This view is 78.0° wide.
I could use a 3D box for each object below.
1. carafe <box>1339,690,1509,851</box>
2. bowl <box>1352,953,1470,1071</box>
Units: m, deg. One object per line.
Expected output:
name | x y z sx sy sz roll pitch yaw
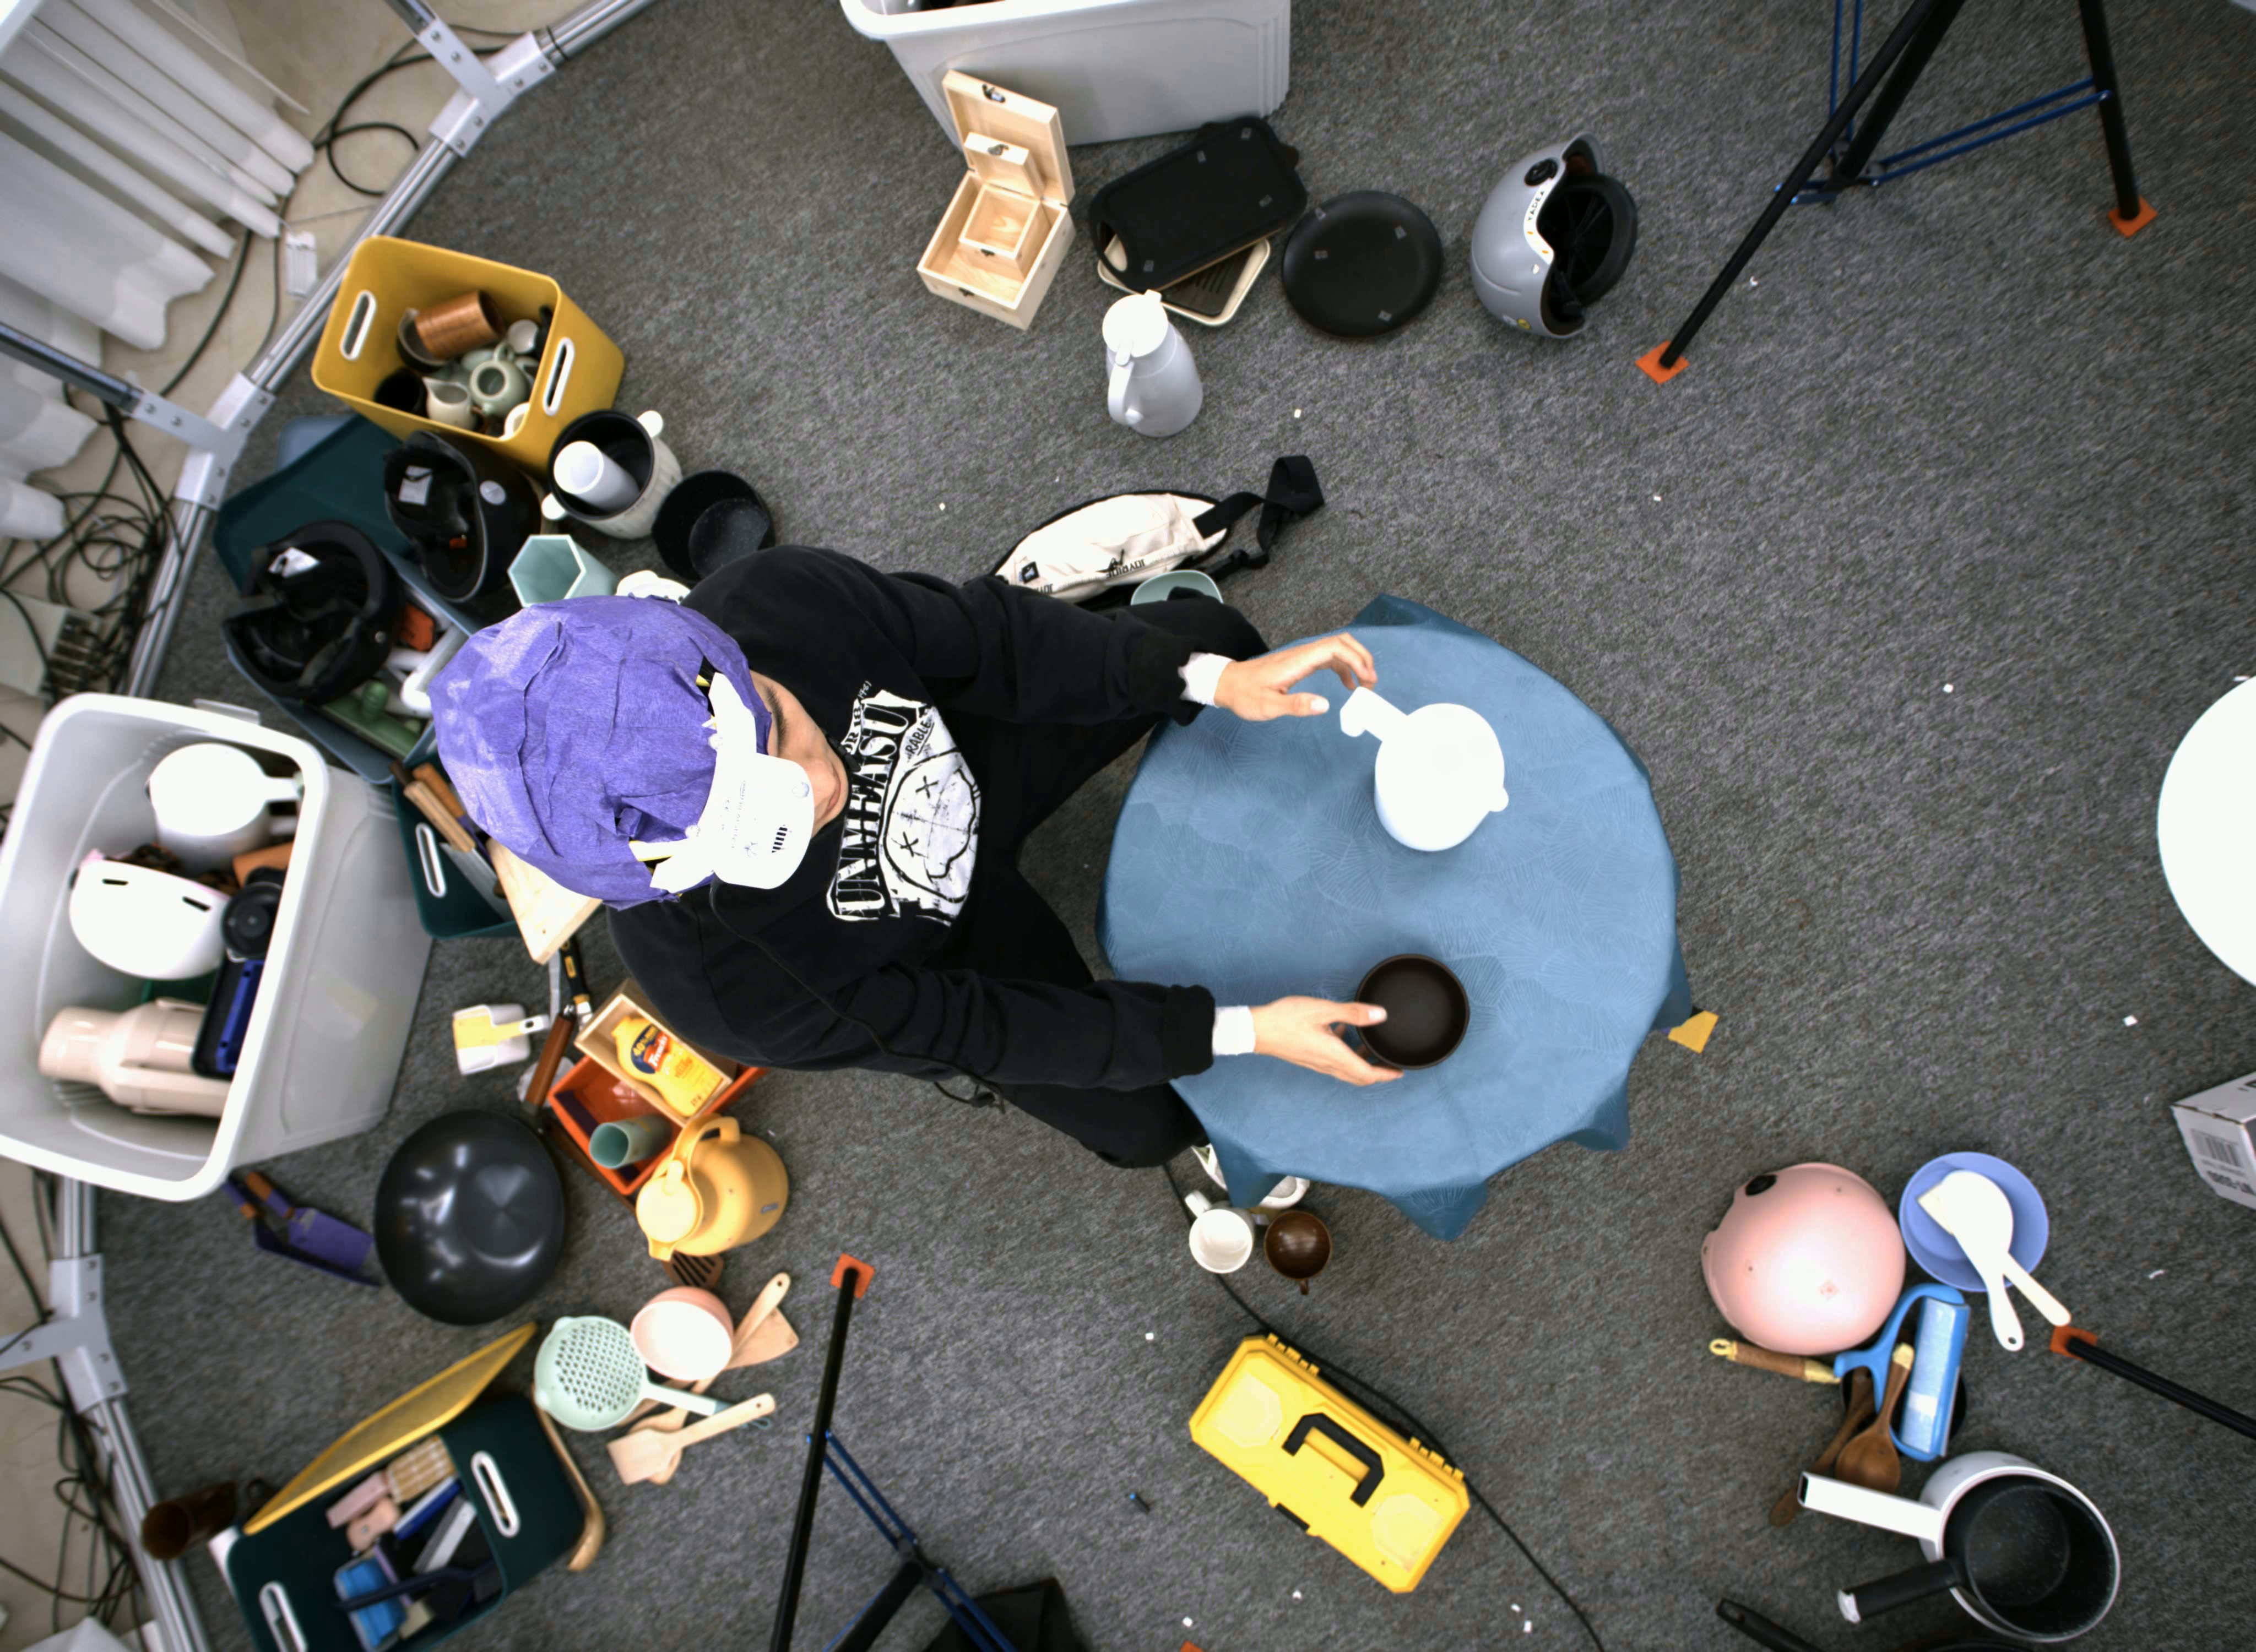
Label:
carafe | 0.282 -0.055 1.330 0.172 0.268 0.124 36 94 11
bowl | 0.288 0.188 1.415 0.118 0.070 0.117 -1 87 9
